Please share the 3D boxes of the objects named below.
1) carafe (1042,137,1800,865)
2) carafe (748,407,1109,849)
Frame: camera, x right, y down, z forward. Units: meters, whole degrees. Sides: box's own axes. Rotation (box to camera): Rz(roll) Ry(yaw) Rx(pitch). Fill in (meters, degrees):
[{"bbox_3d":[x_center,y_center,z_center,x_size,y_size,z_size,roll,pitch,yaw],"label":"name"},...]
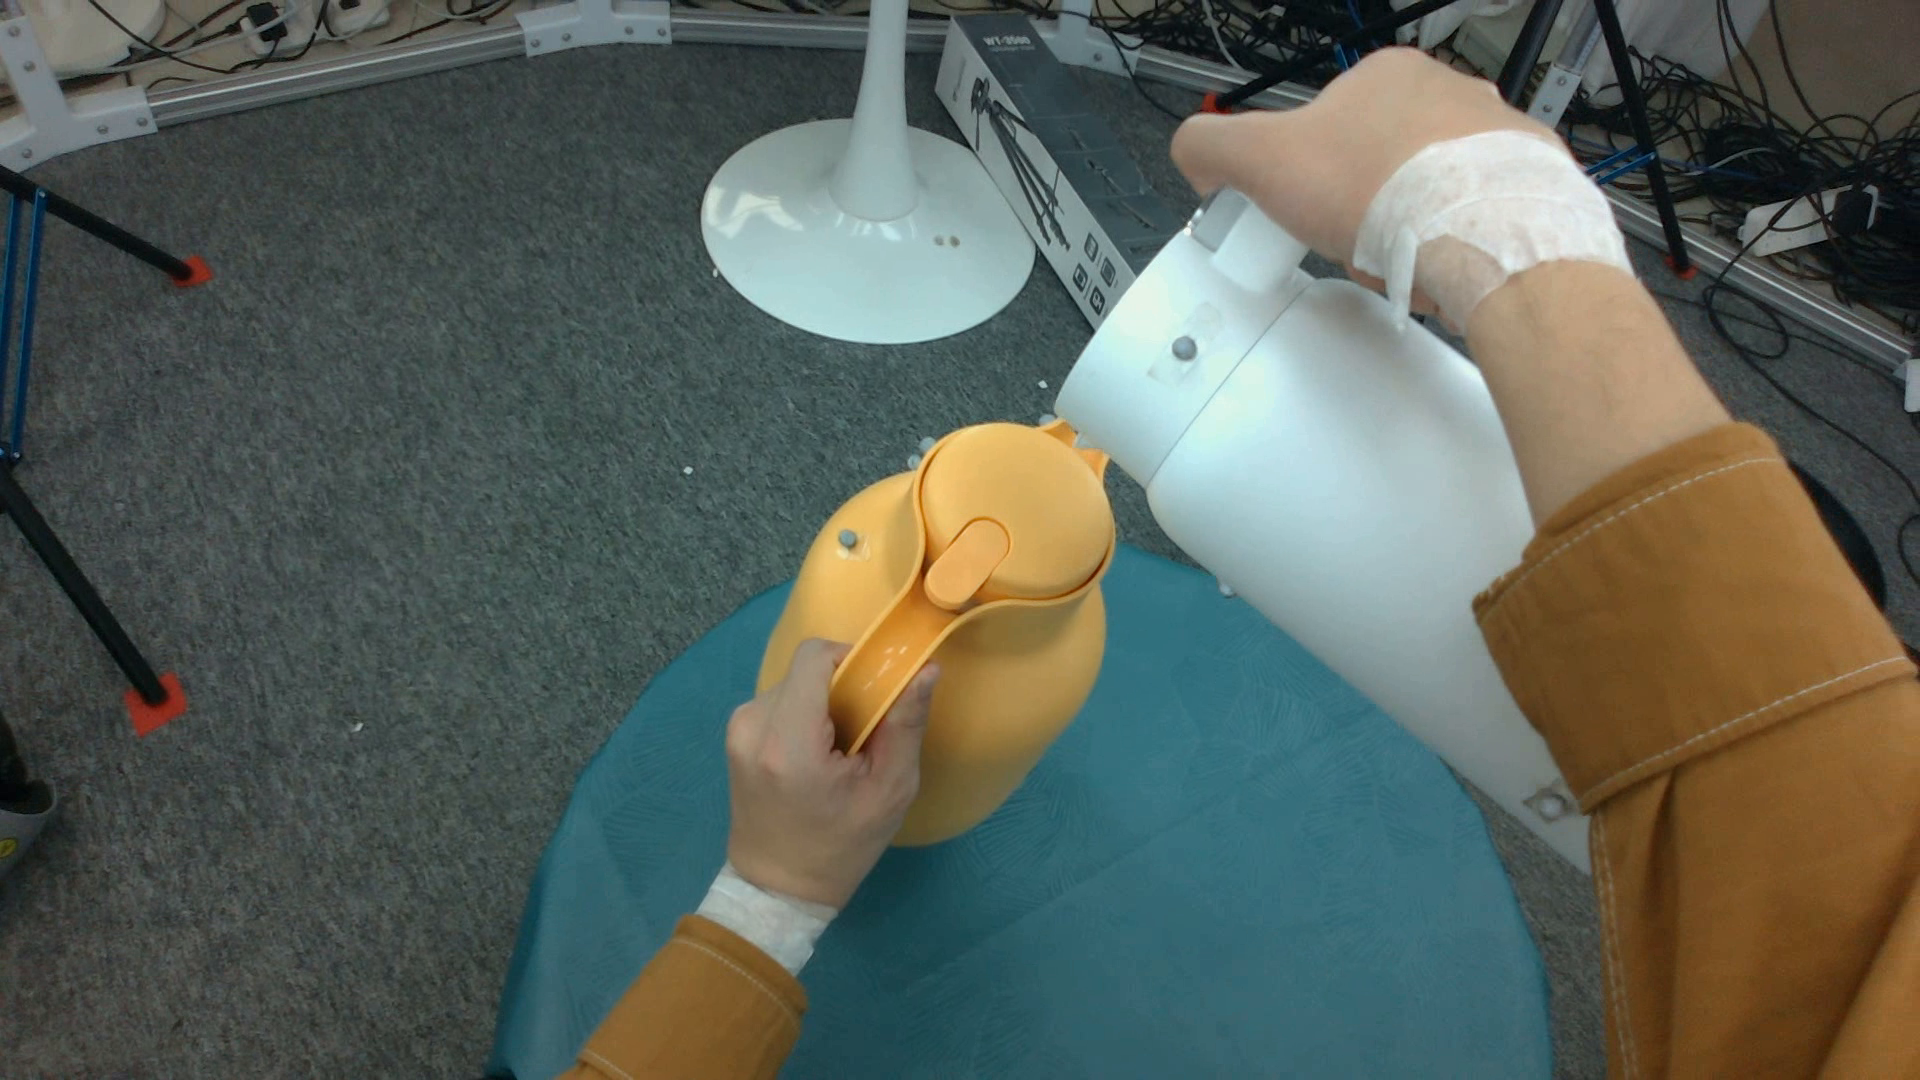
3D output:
[{"bbox_3d":[0.171,-0.018,0.508,0.269,0.172,0.124,41,43,8],"label":"carafe"},{"bbox_3d":[-0.024,0.054,0.697,0.163,0.259,0.203,39,52,10],"label":"carafe"}]
